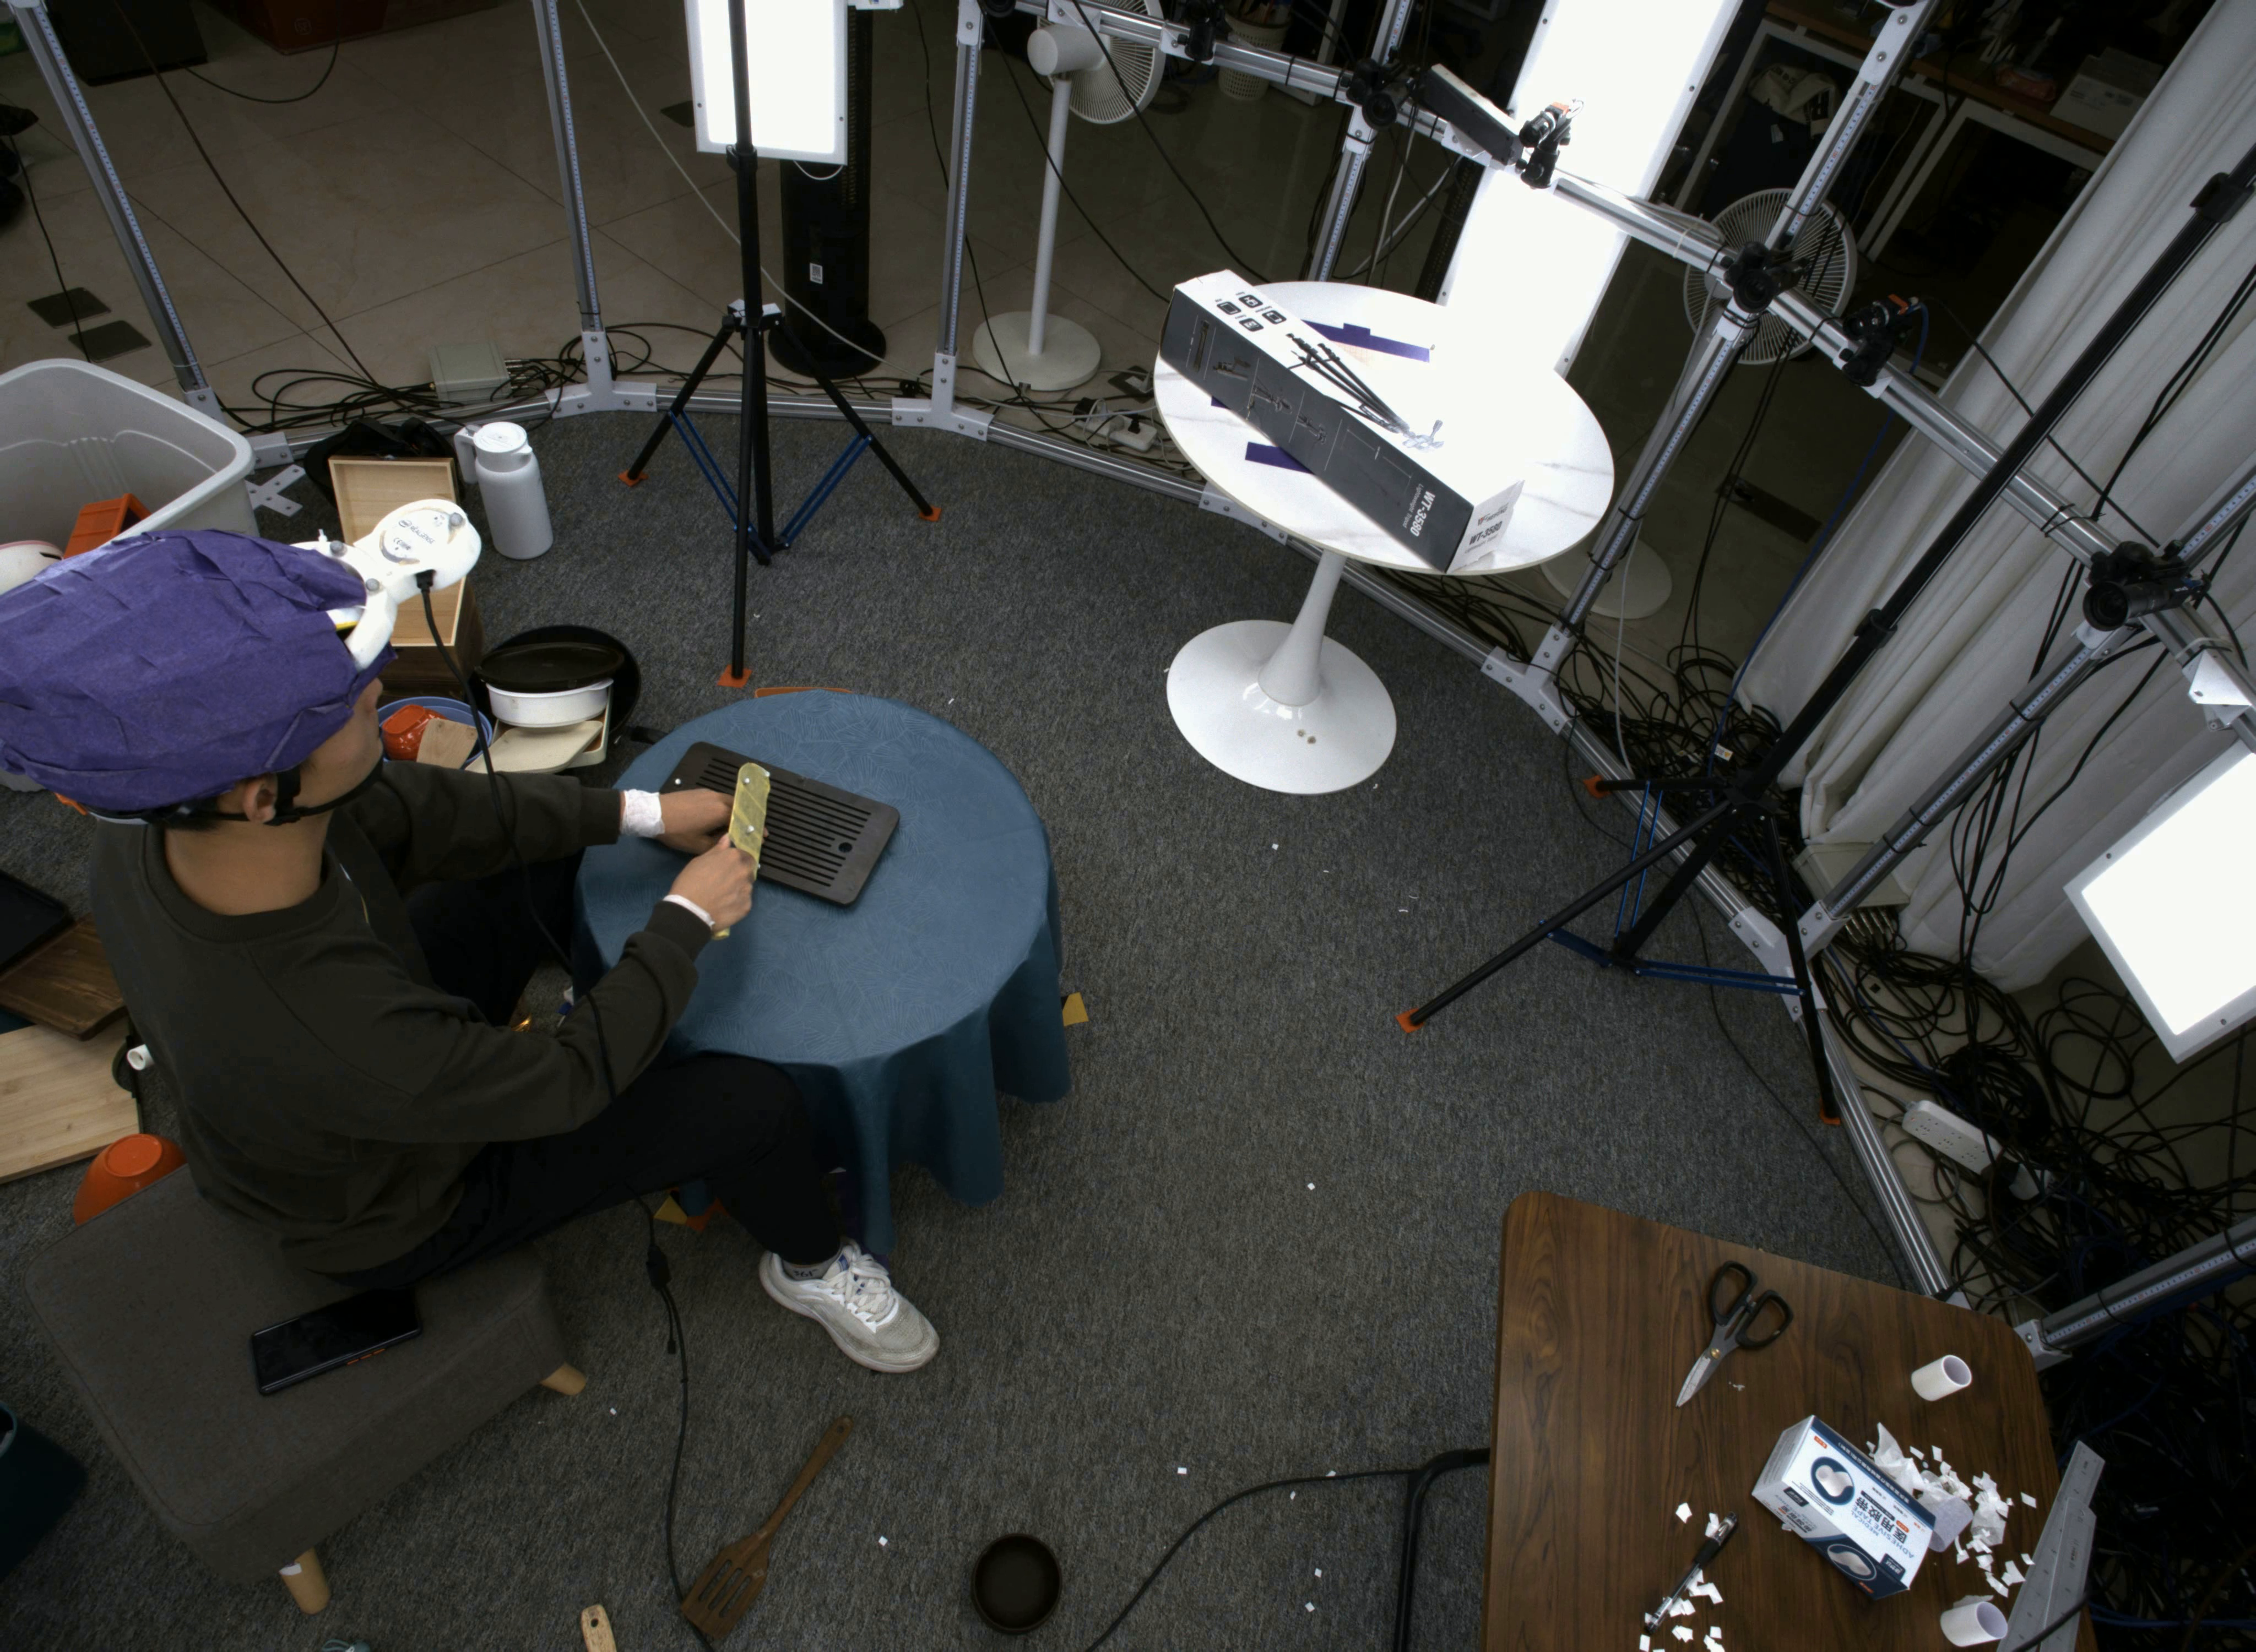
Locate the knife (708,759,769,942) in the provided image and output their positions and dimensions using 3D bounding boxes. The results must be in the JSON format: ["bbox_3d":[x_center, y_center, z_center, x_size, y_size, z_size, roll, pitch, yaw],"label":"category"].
[{"bbox_3d":[-0.480,0.027,1.609,0.027,0.084,0.284,-12,50,15],"label":"knife"}]

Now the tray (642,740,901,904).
[{"bbox_3d":[-0.470,-0.007,1.717,0.303,0.019,0.168,19,52,1],"label":"tray"}]
